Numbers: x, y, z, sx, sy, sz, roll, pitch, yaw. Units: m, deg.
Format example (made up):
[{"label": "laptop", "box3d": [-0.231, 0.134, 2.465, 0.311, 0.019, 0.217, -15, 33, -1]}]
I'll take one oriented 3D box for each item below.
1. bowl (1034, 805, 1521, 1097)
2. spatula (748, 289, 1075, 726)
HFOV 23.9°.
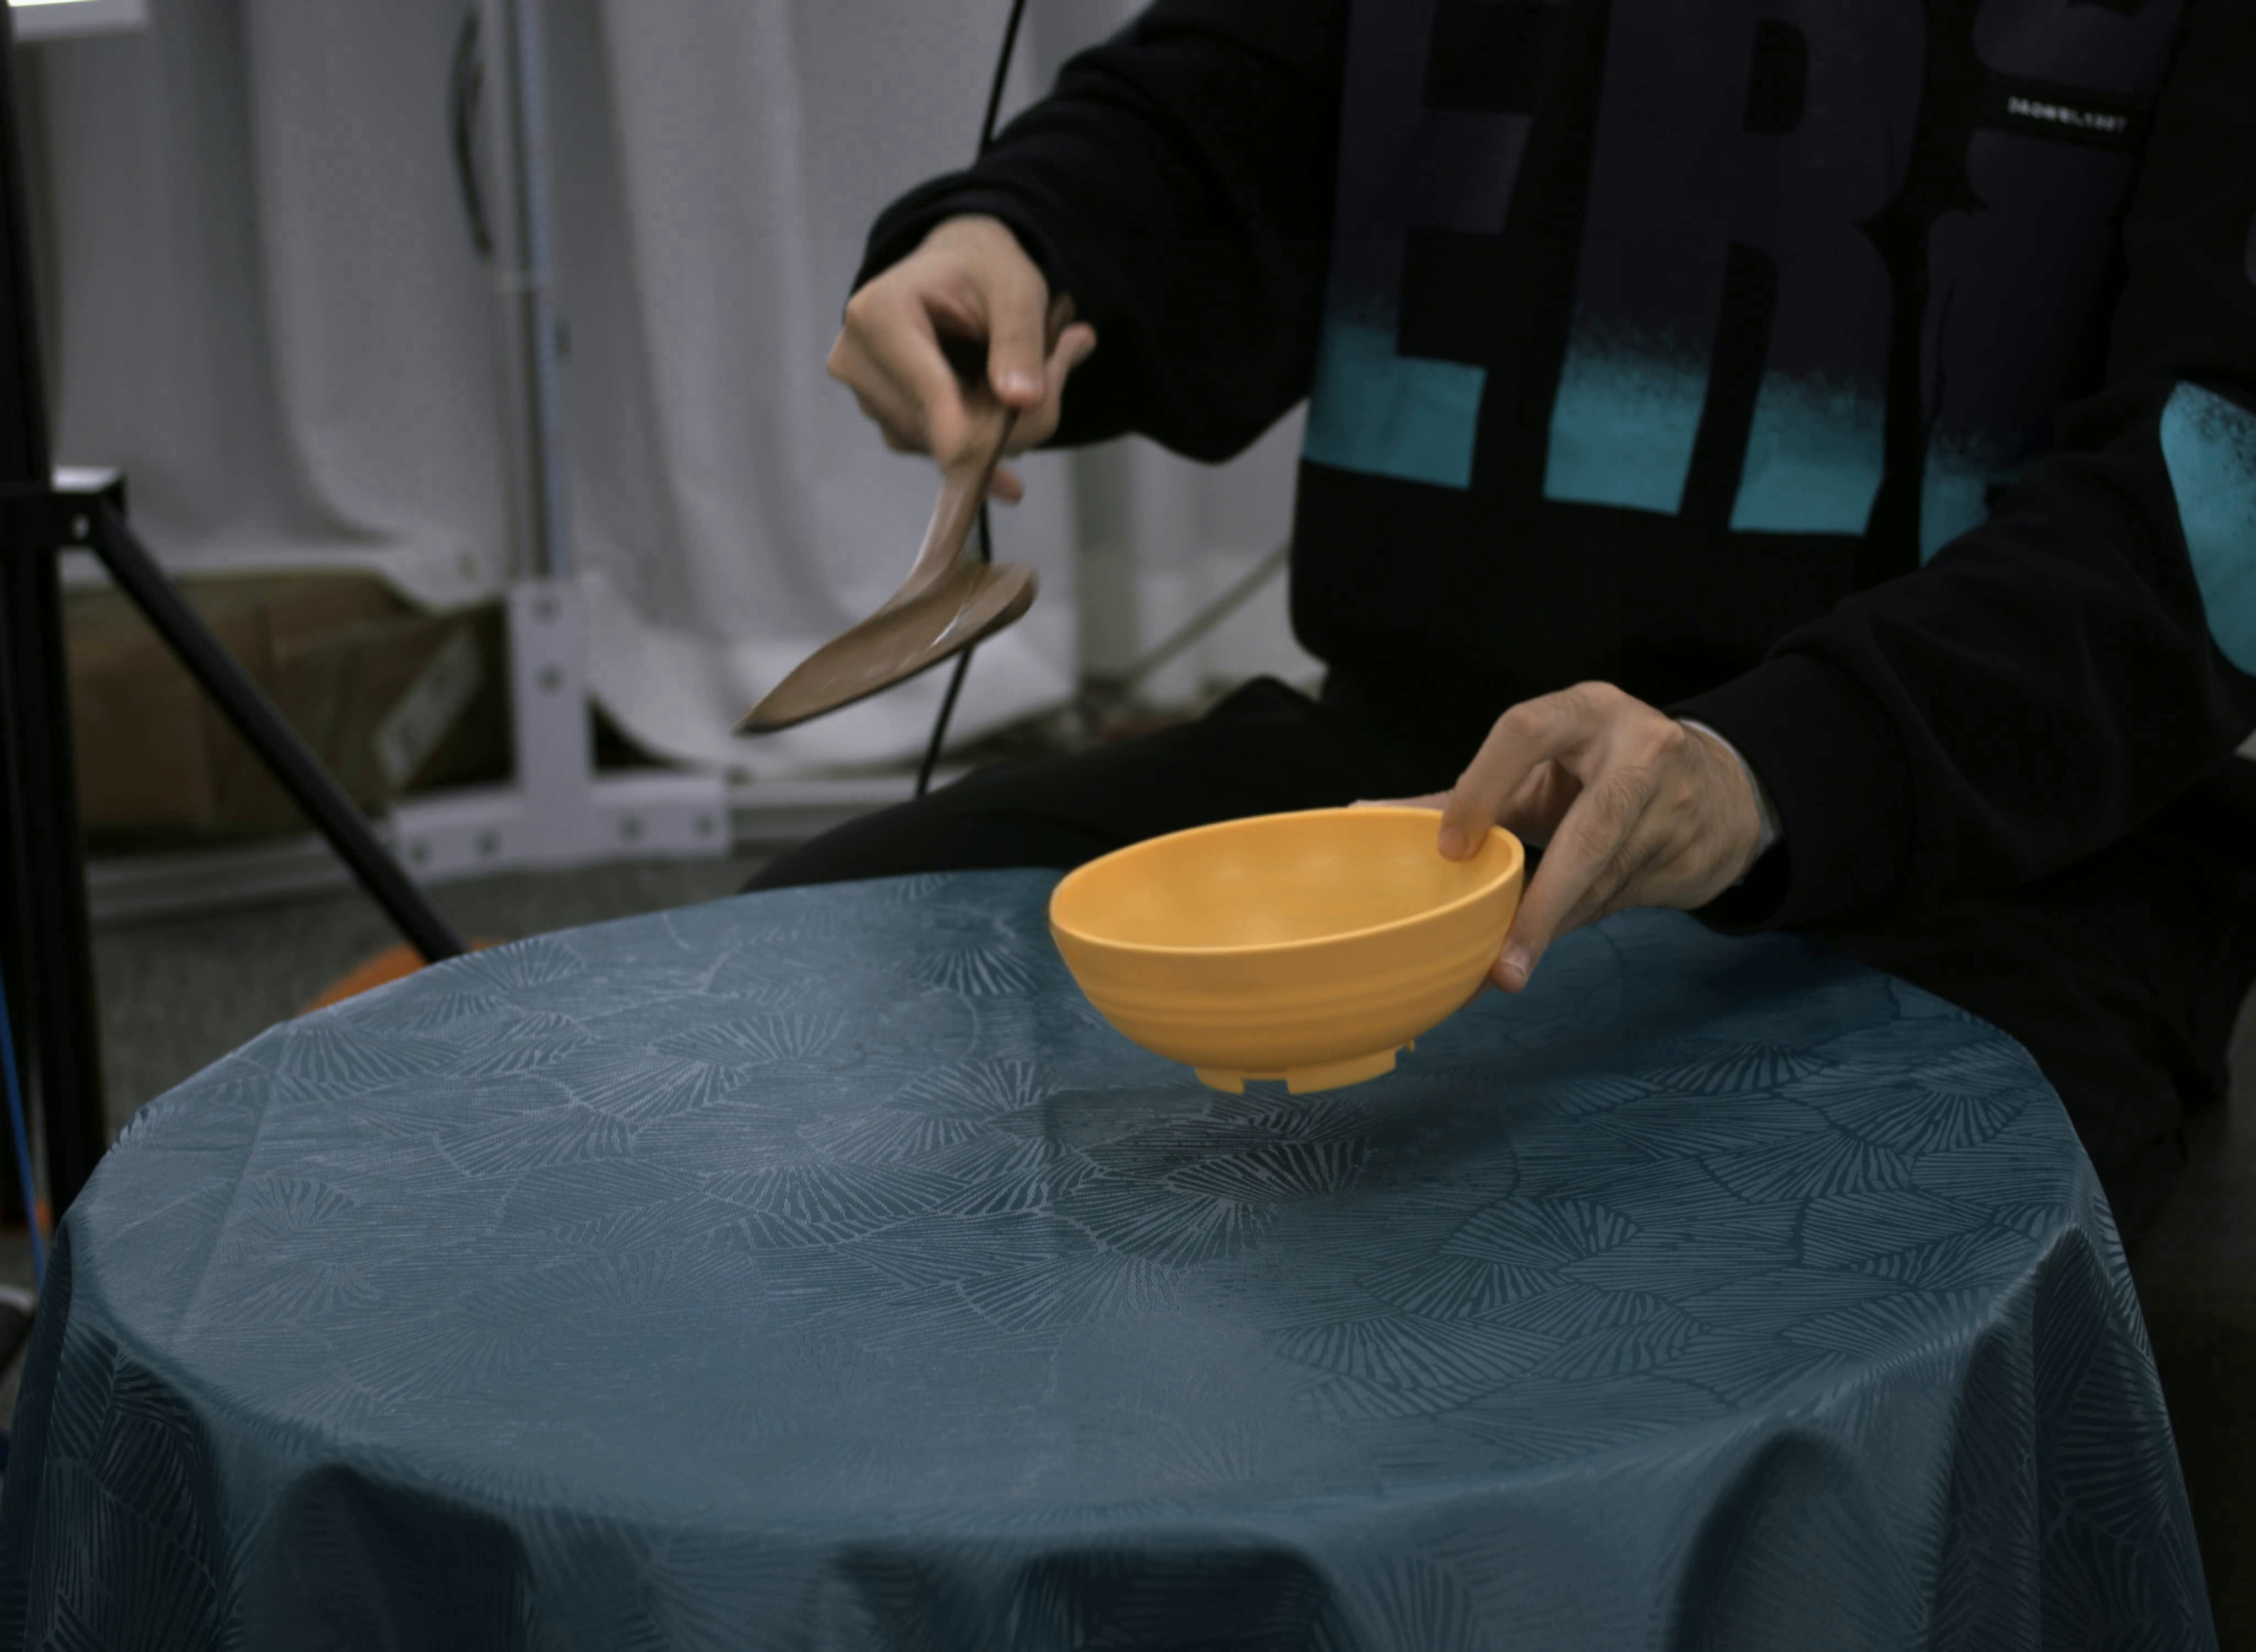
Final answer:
[{"label": "bowl", "box3d": [0.046, 0.043, 1.583, 0.144, 0.060, 0.146, -5, 16, 0]}, {"label": "spatula", "box3d": [-0.051, -0.112, 1.714, 0.097, 0.015, 0.386, -25, 18, 15]}]
